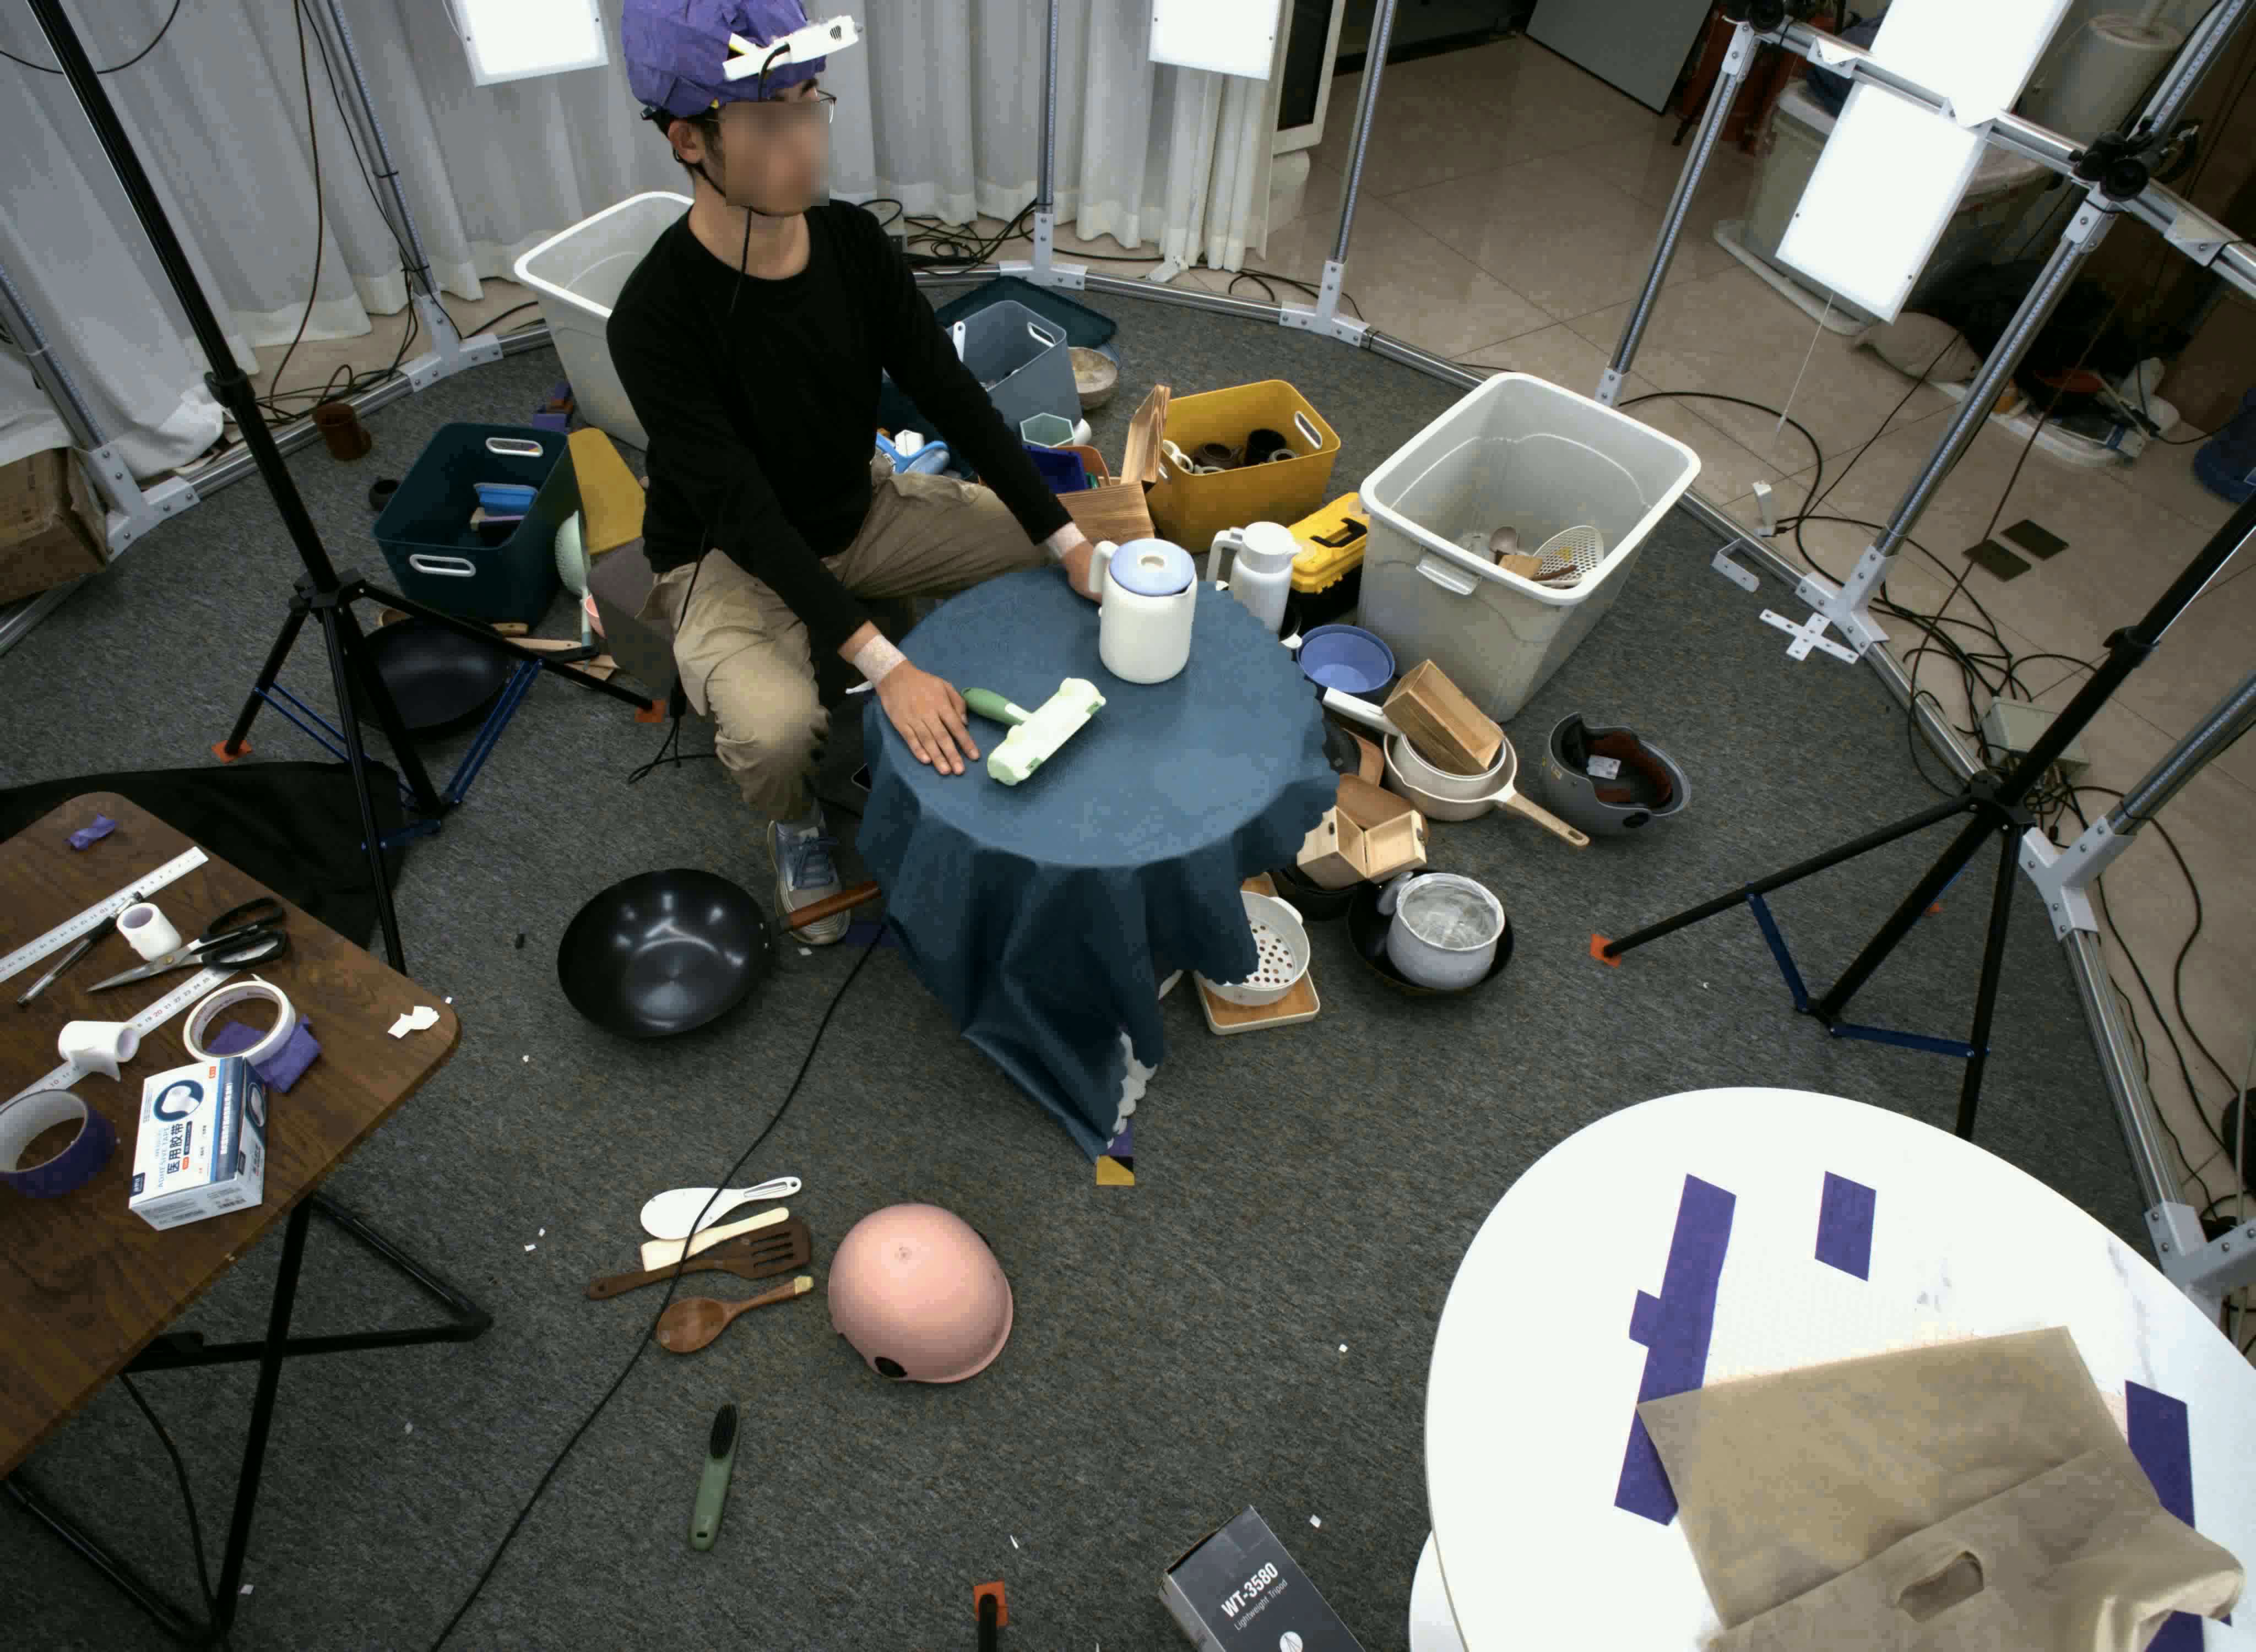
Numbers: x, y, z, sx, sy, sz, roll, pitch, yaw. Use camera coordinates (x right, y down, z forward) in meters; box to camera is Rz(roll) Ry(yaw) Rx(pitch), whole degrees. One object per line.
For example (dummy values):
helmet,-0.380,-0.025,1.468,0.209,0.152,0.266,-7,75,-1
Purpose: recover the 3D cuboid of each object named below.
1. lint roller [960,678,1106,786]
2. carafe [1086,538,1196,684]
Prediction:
lint roller,-0.156,-0.161,1.750,0.185,0.080,0.201,31,53,18
carafe,0.010,-0.319,1.836,0.133,0.178,0.194,-34,58,-30
